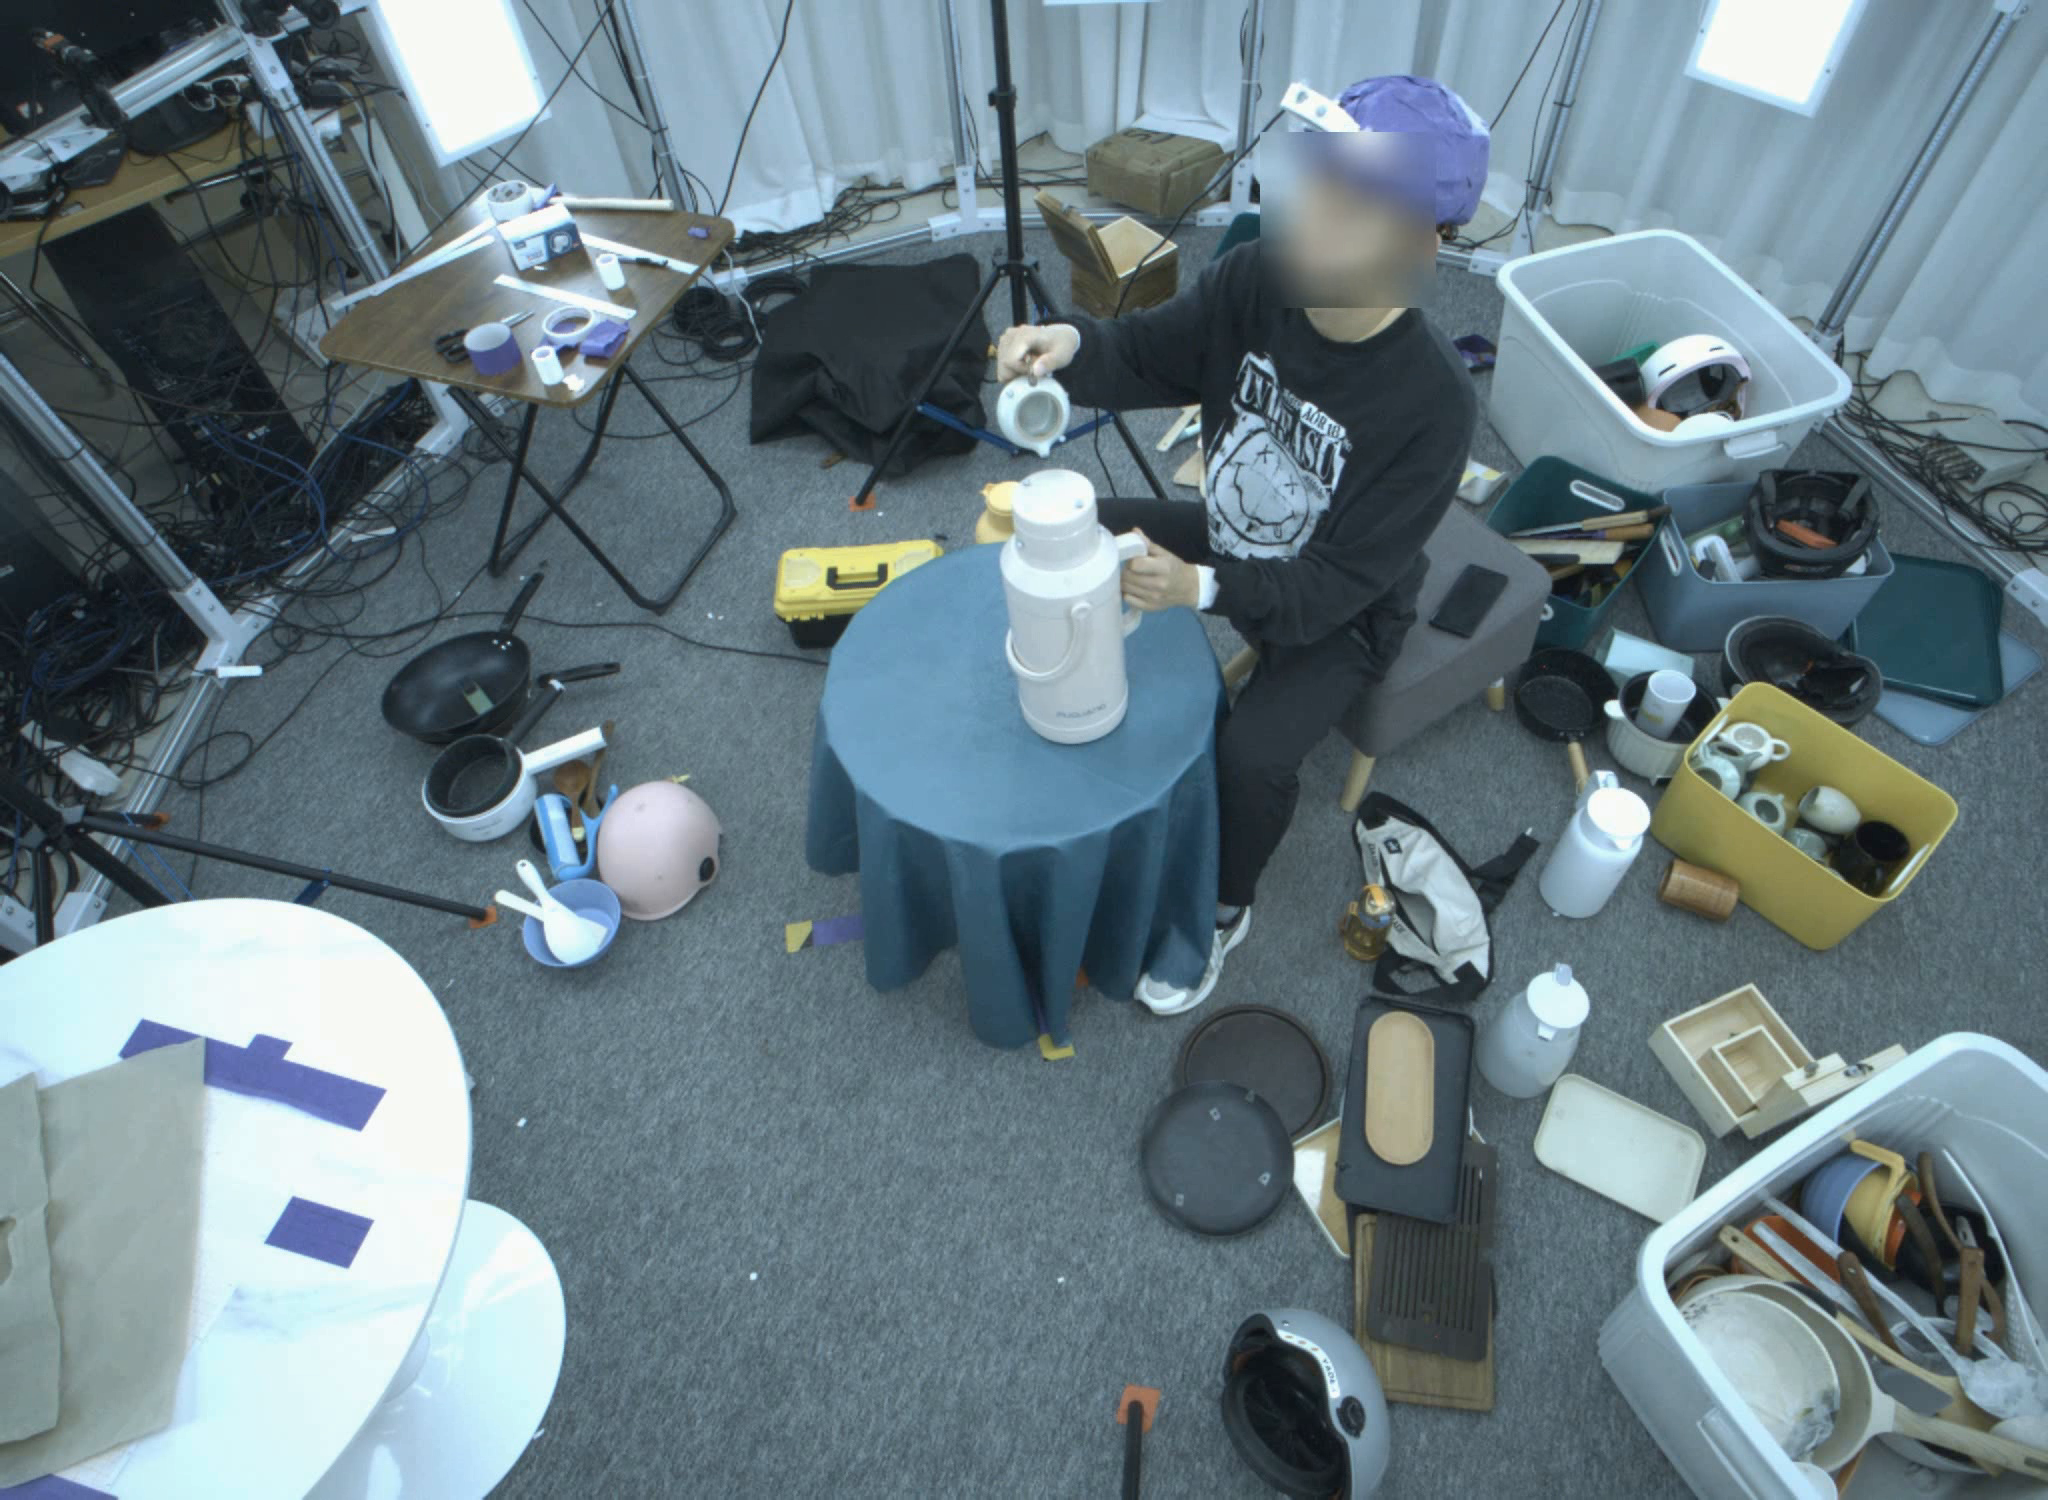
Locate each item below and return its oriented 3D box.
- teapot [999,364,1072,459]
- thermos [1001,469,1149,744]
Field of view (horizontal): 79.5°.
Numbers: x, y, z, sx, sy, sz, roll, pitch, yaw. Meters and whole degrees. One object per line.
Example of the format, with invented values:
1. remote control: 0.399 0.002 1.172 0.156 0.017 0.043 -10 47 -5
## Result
1. teapot: 0.010 -0.427 1.502 0.092 0.130 0.058 -15 31 -5
2. thermos: 0.072 -0.195 1.670 0.208 0.412 0.172 -19 51 -7
